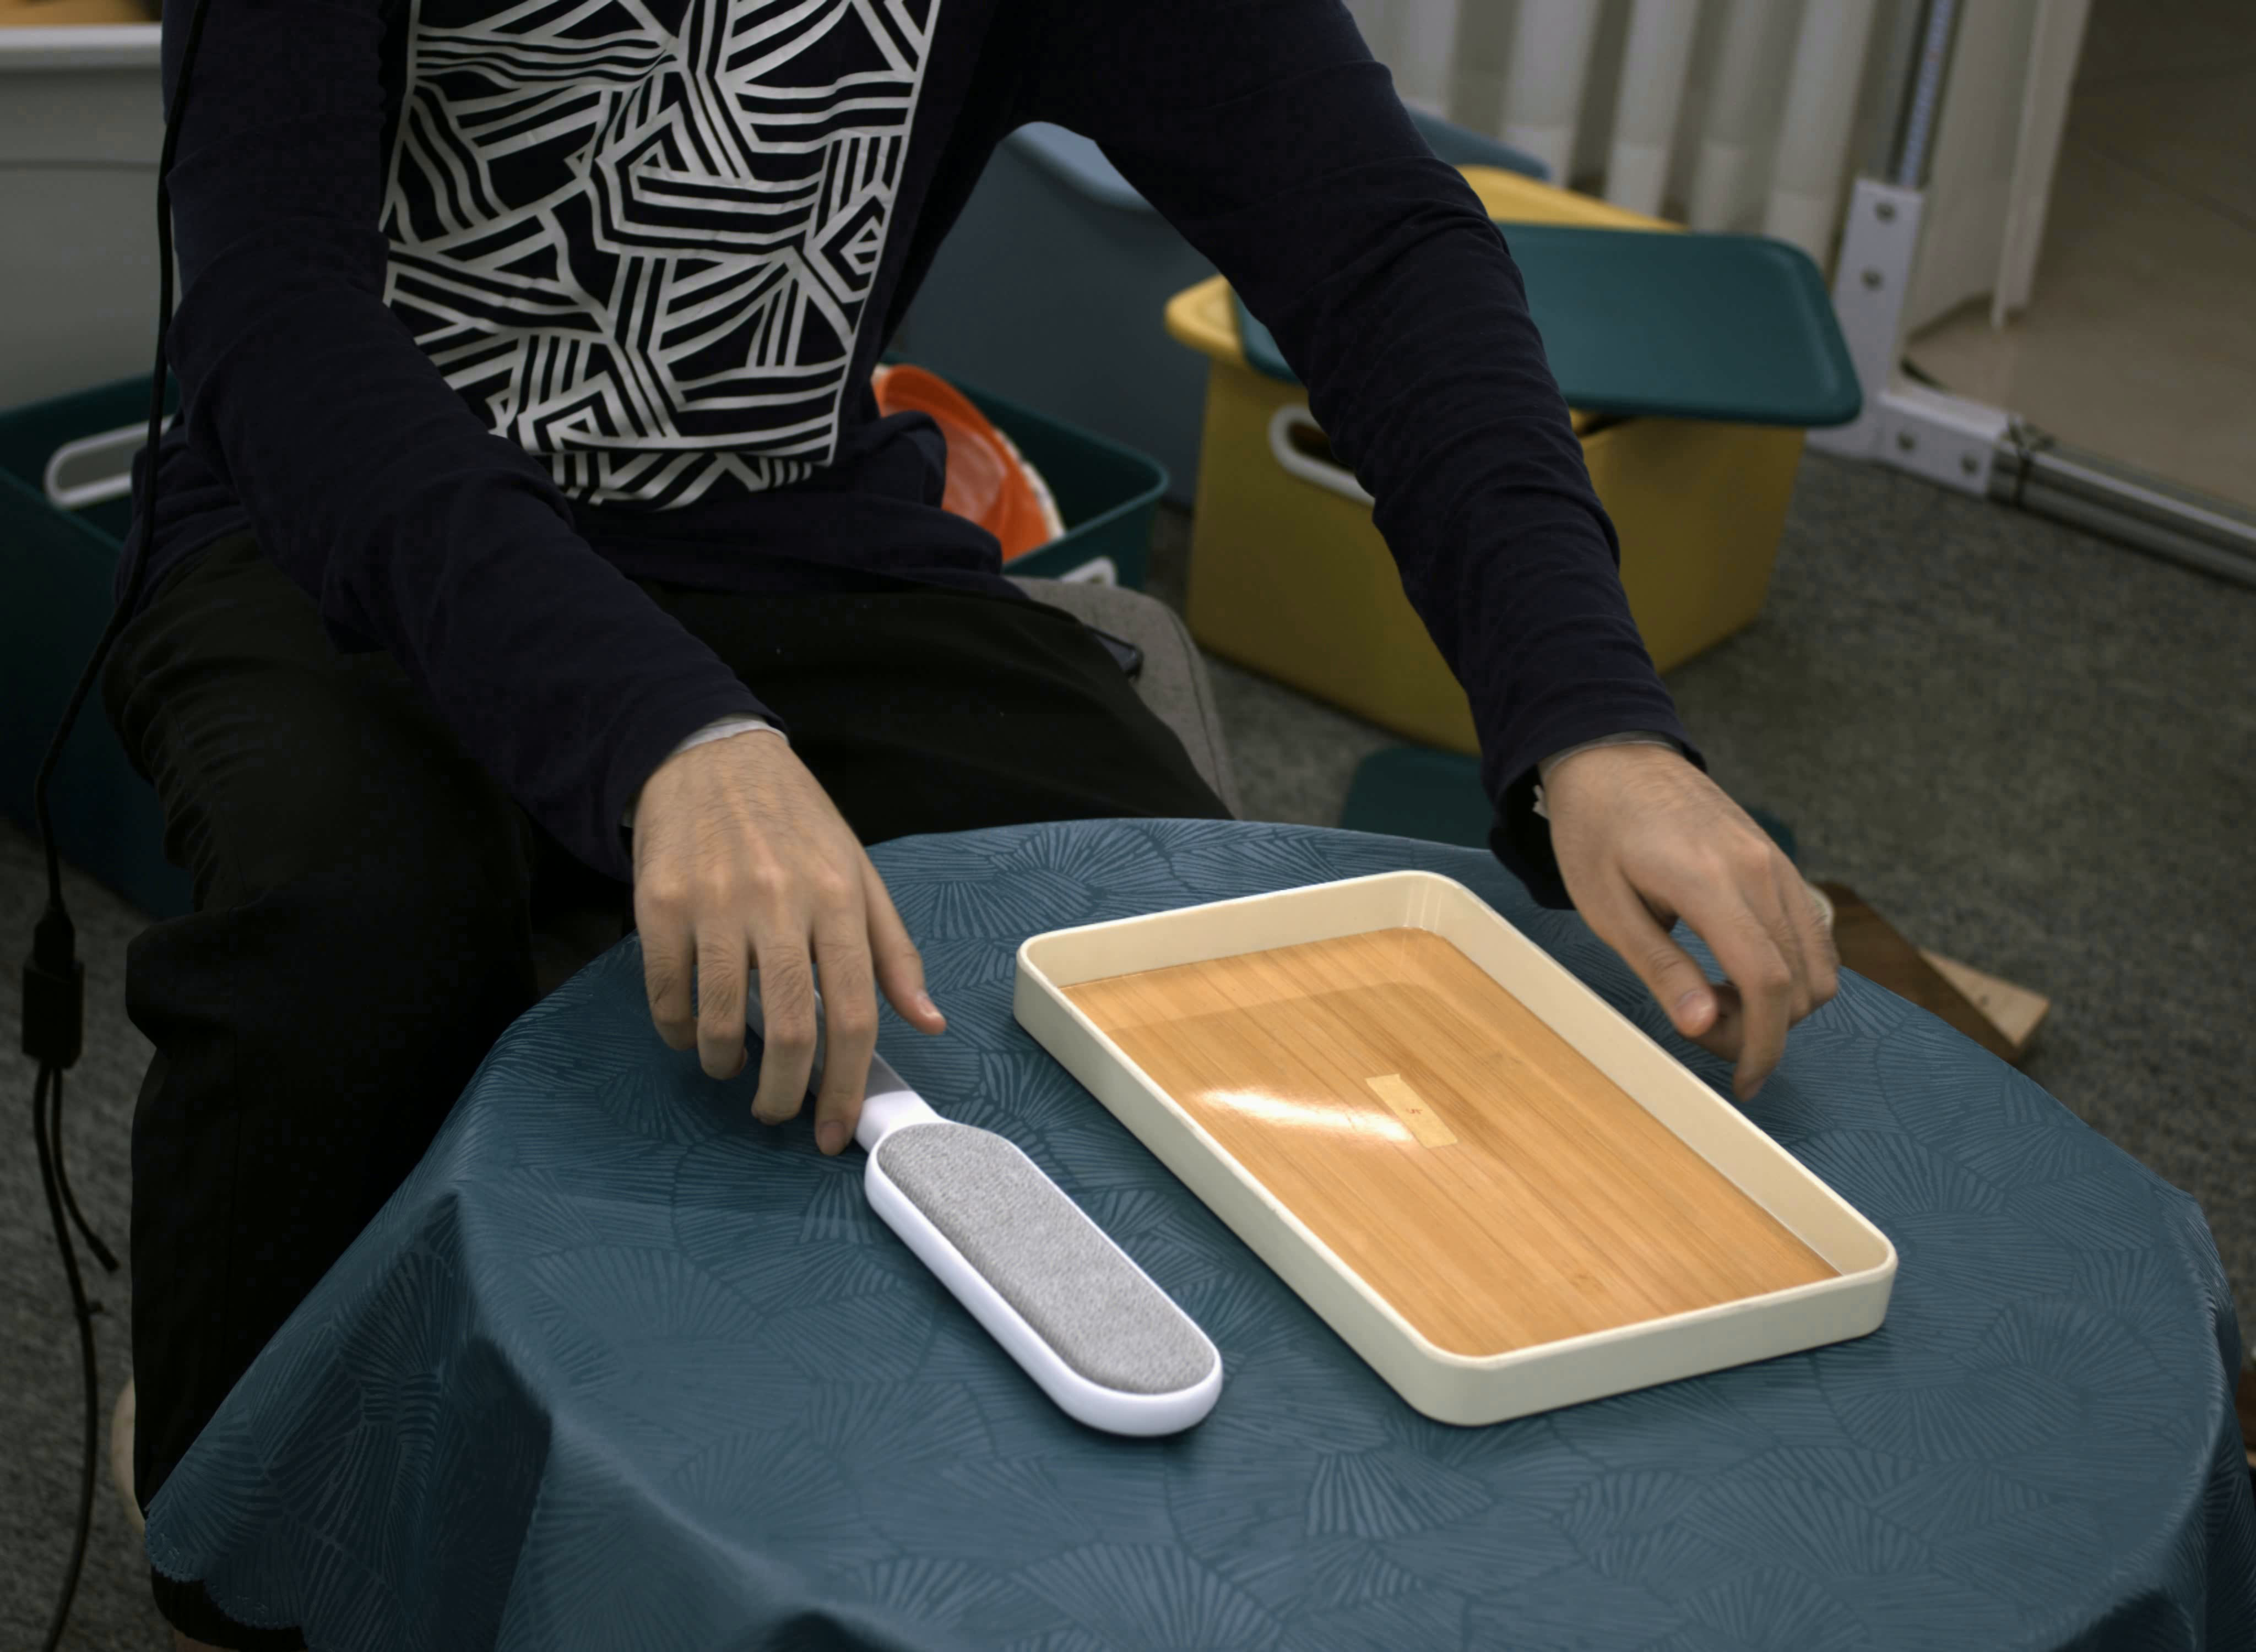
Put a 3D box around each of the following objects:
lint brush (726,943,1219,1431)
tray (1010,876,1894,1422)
[{"bbox_3d":[-0.059,0.115,1.779,0.060,0.021,0.312,-14,33,-25],"label":"lint brush"},{"bbox_3d":[0.106,0.105,1.838,0.190,0.027,0.303,-8,30,-28],"label":"tray"}]
